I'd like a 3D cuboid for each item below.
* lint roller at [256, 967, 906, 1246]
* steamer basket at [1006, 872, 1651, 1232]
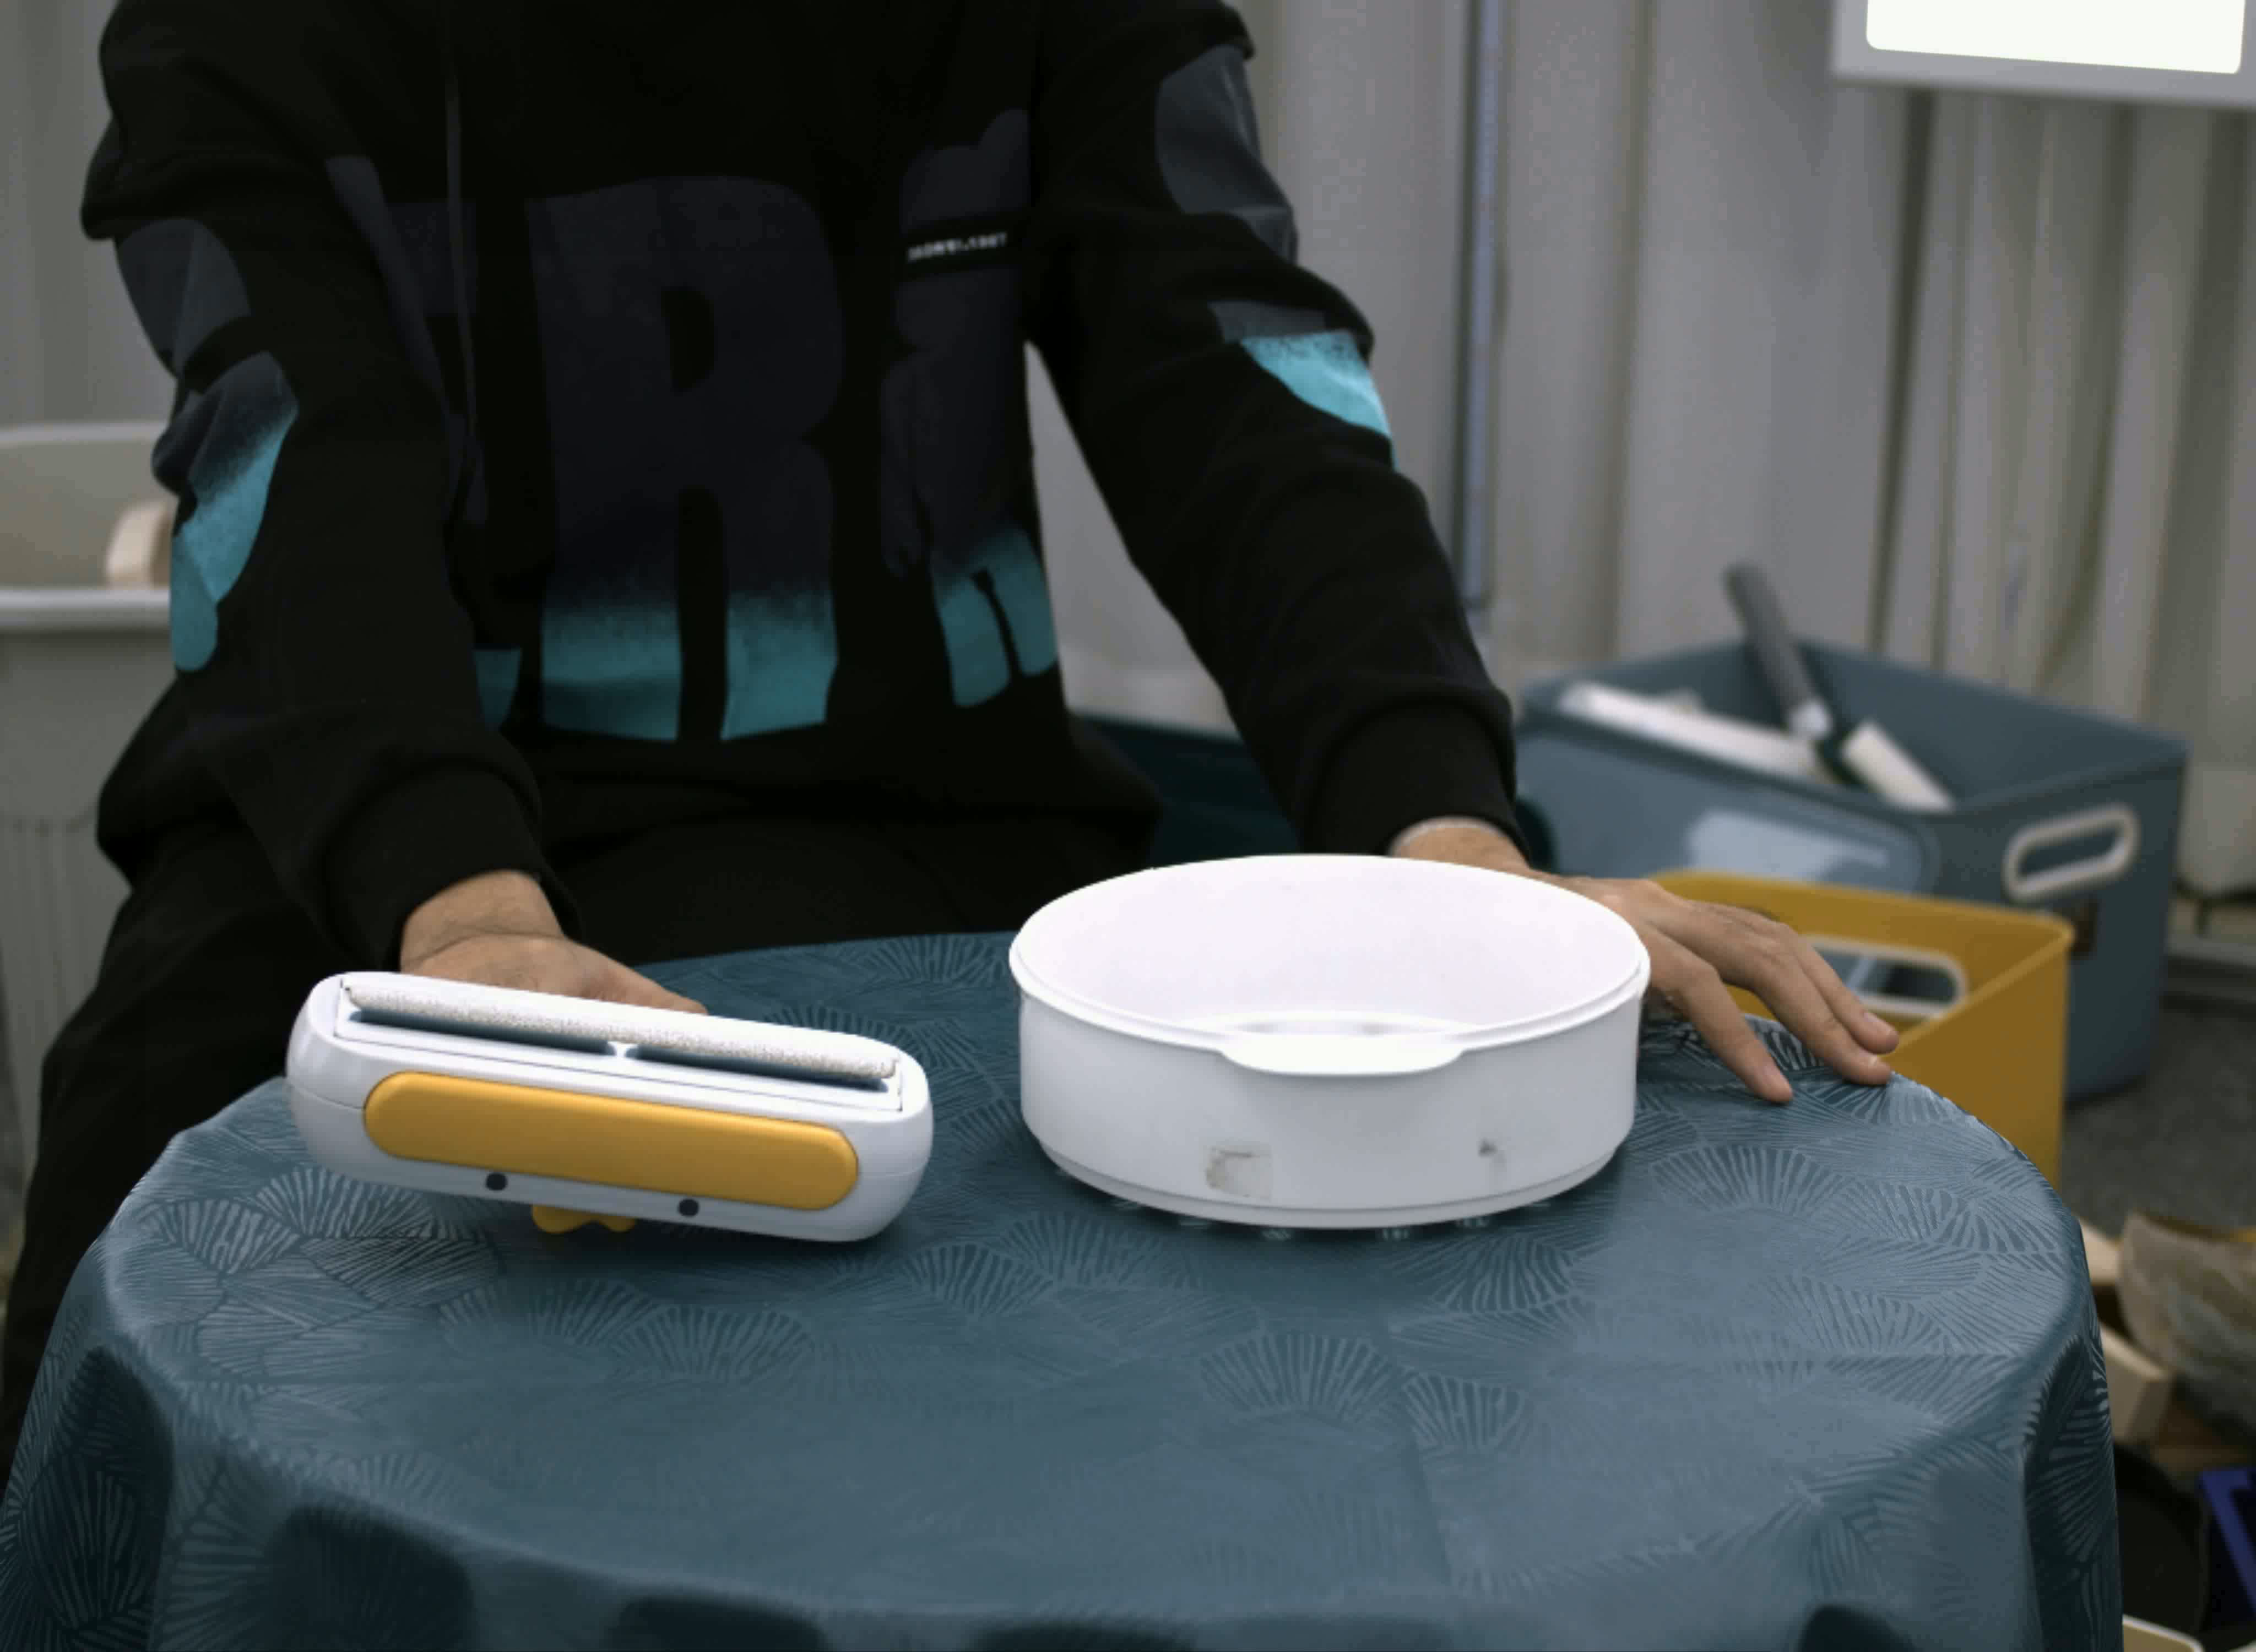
[{"bbox_3d":[-0.165,0.075,1.621,0.192,0.075,0.191,5,14,-4],"label":"lint roller"},{"bbox_3d":[0.062,0.070,1.650,0.201,0.070,0.229,2,14,-1],"label":"steamer basket"}]
